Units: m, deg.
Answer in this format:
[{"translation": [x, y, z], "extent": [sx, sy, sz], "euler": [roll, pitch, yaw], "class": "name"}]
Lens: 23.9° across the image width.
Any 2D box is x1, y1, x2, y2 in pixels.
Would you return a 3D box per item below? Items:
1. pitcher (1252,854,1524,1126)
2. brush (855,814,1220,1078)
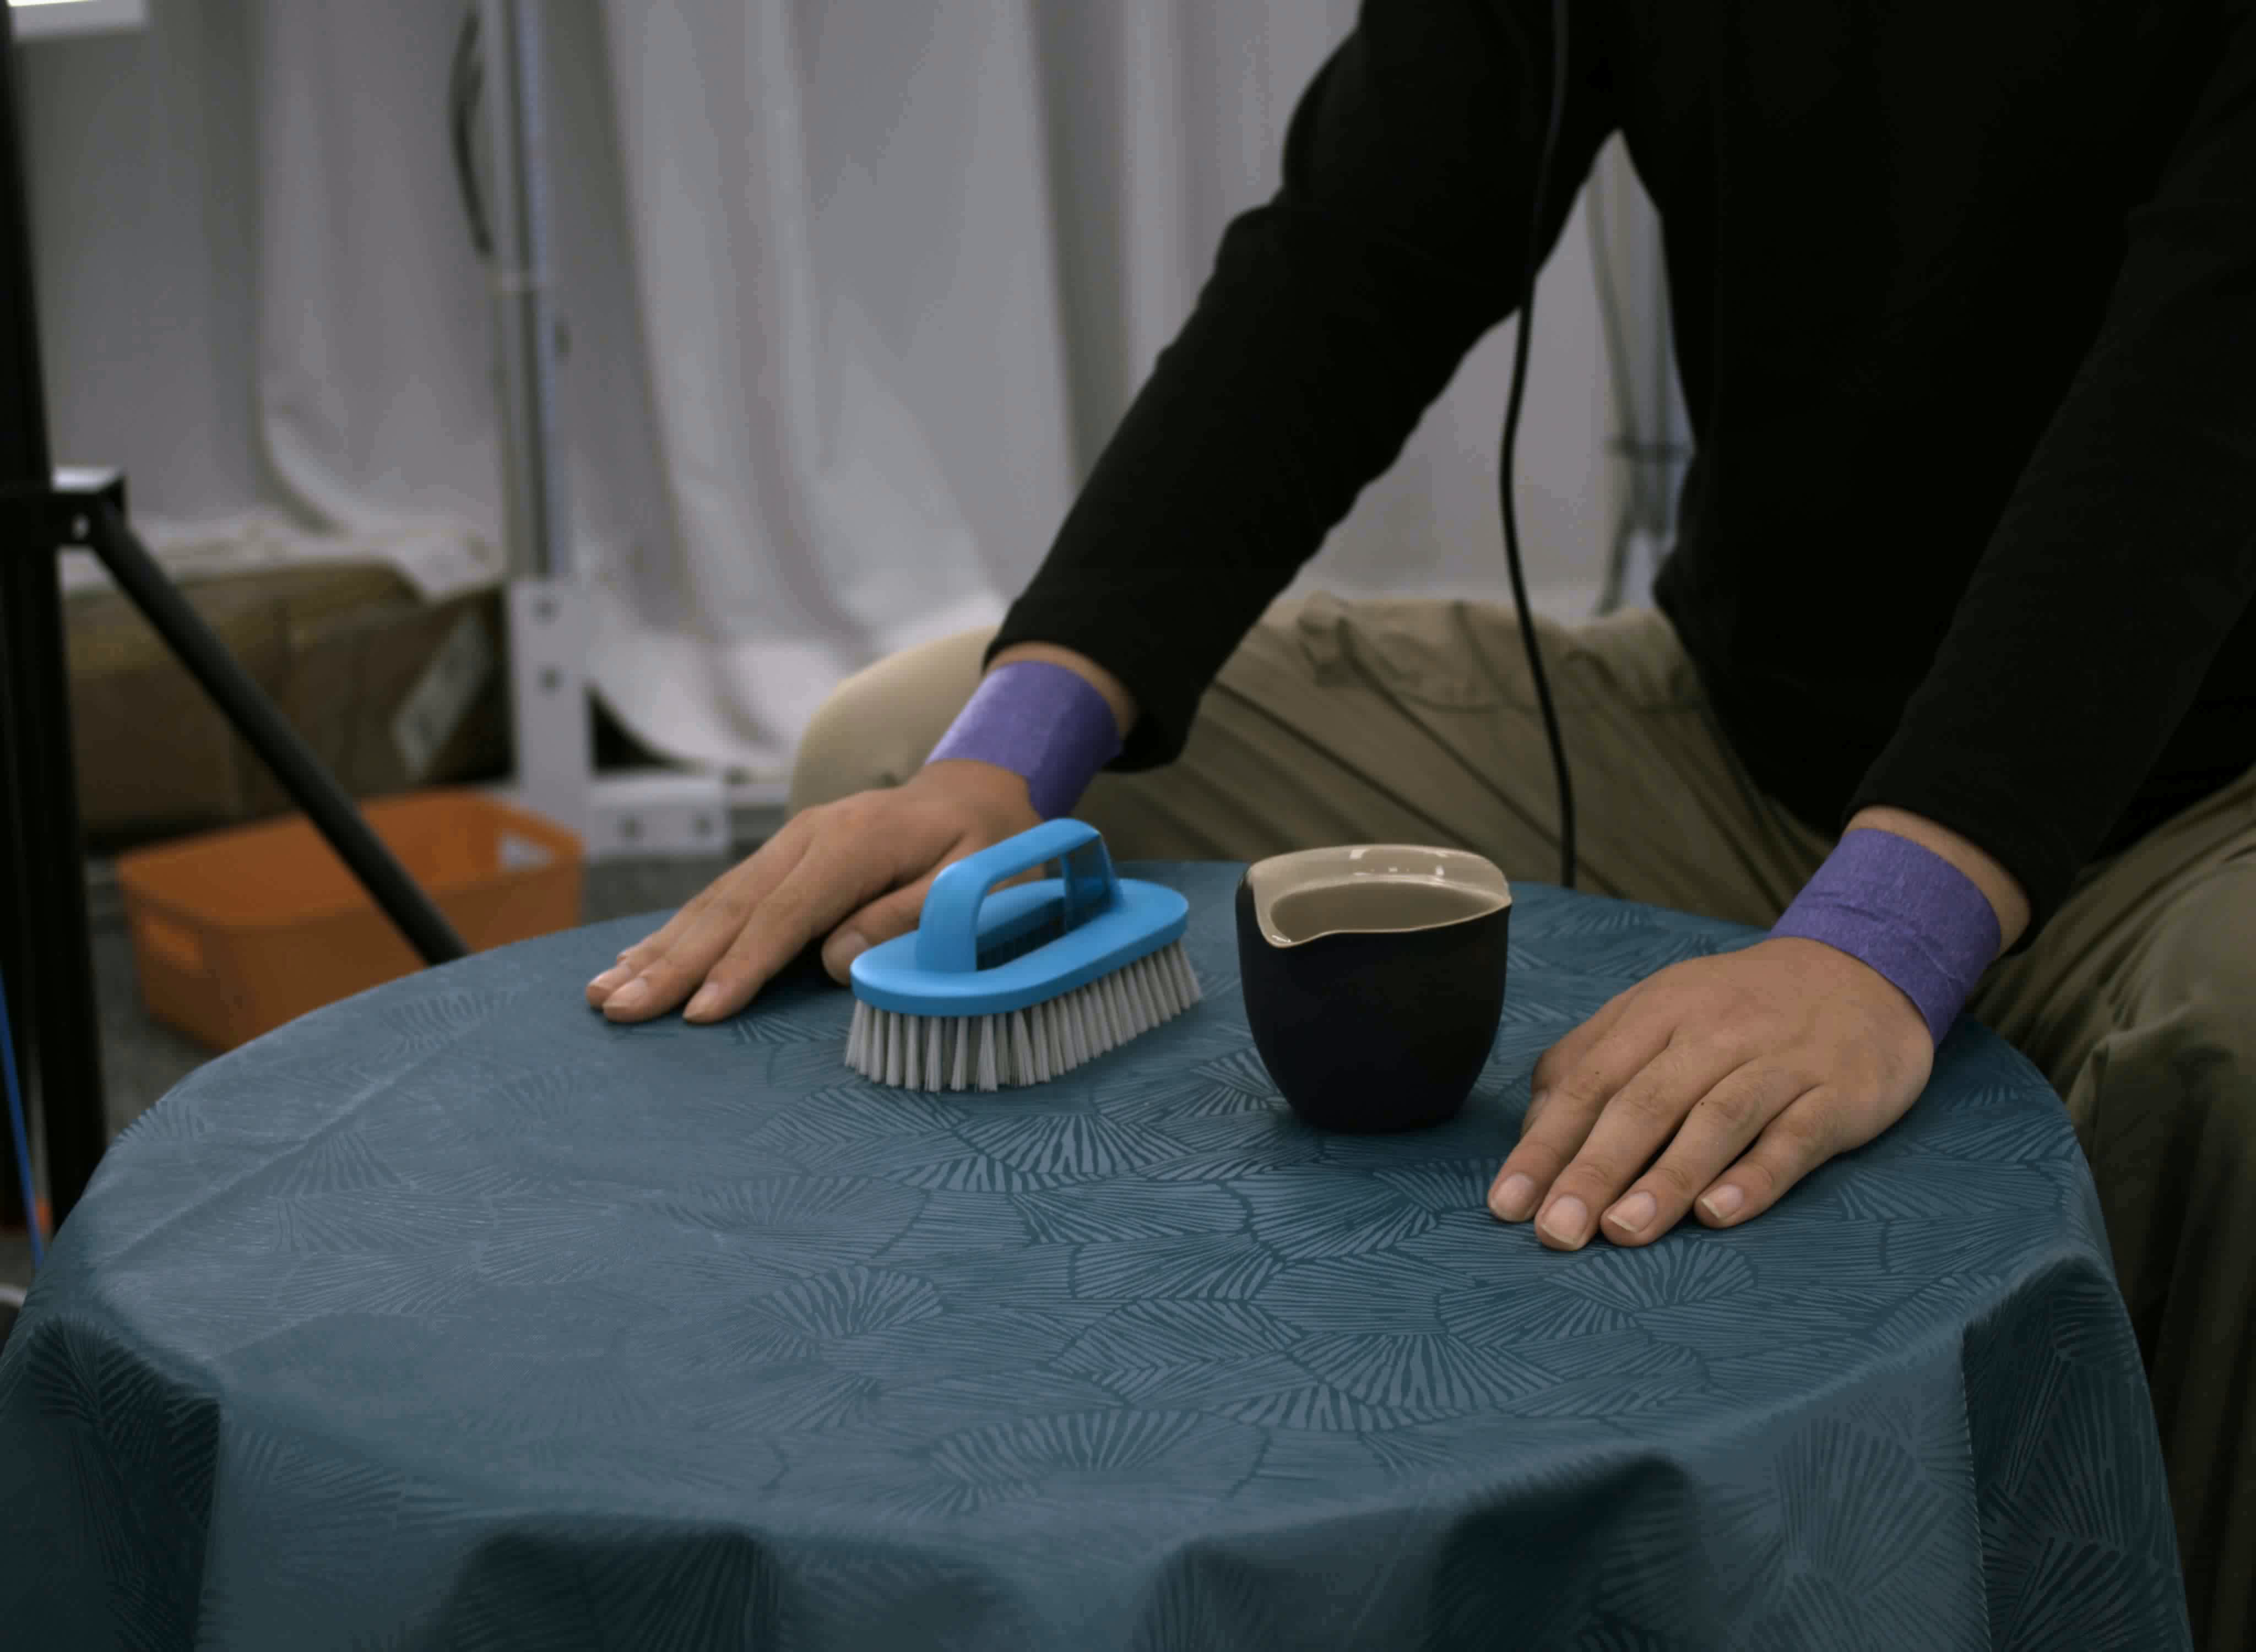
[{"translation": [0.076, 0.051, 1.610], "extent": [0.085, 0.071, 0.094], "euler": [12, 22, 38], "class": "pitcher"}, {"translation": [-0.032, 0.034, 1.707], "extent": [0.086, 0.064, 0.139], "euler": [3, 15, 36], "class": "brush"}]
